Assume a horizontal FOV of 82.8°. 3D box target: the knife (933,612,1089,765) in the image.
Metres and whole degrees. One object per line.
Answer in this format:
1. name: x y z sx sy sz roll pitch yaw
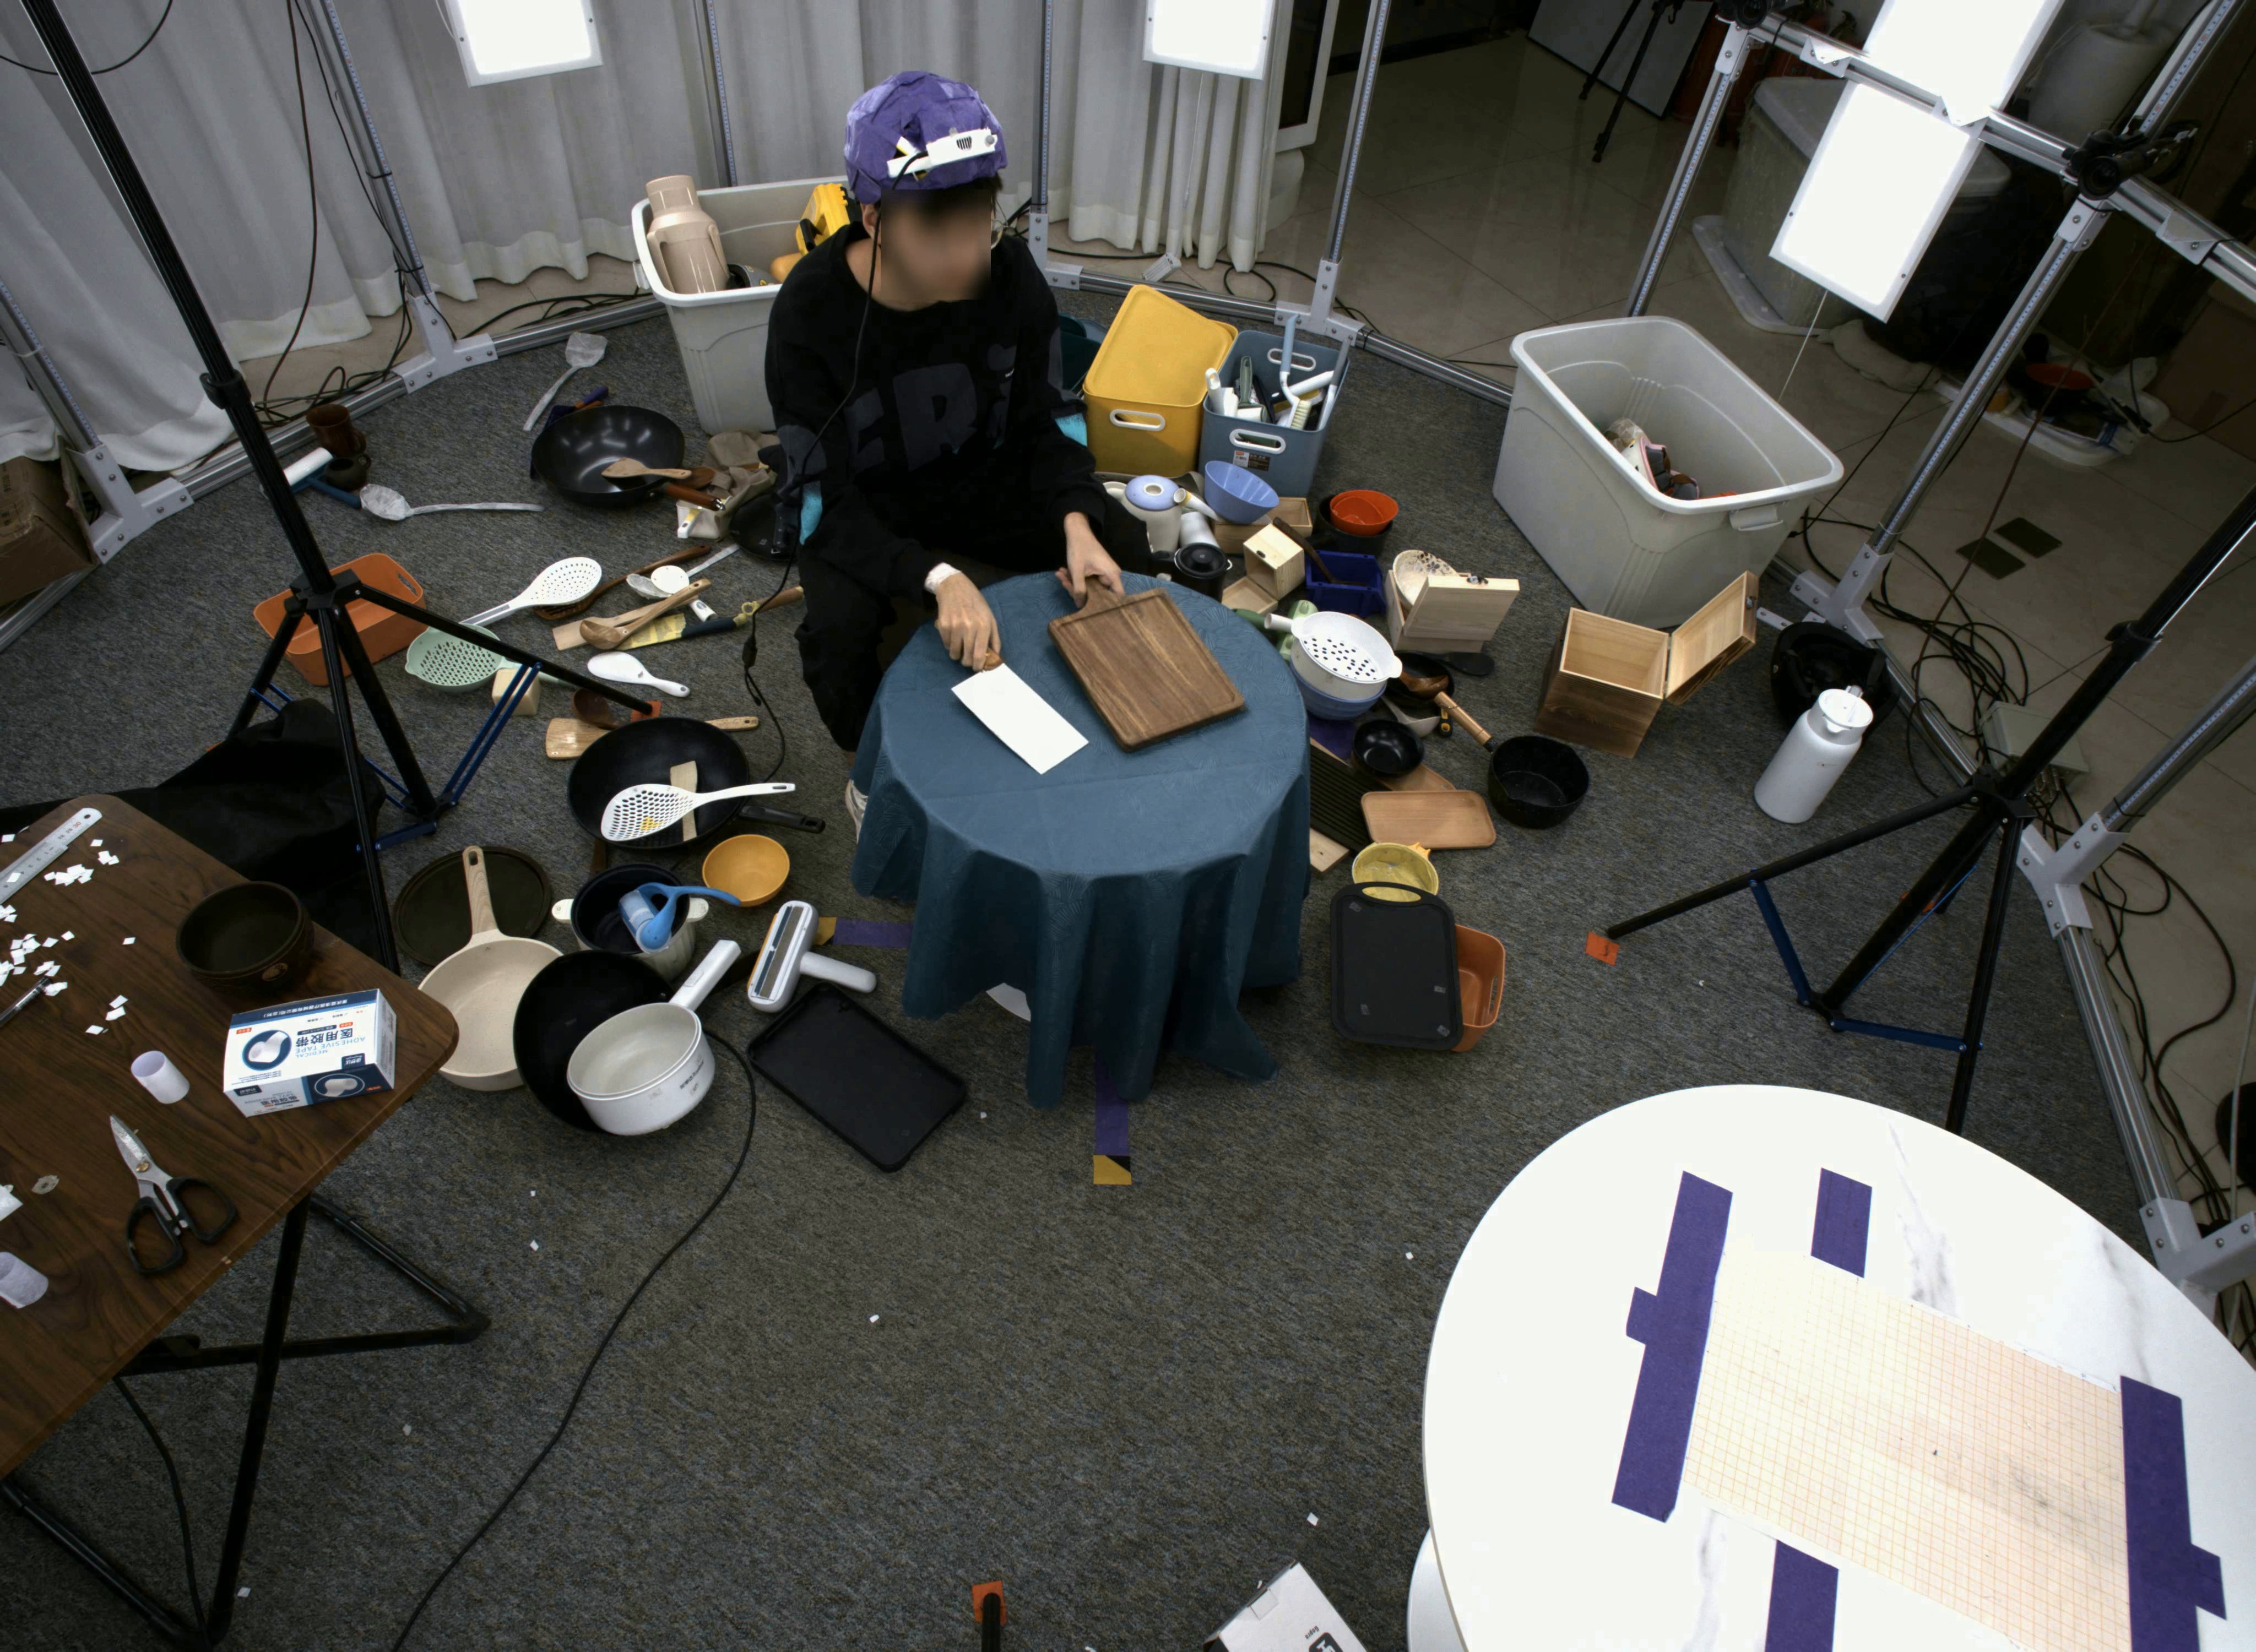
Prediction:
1. knife: -0.185 -0.191 1.799 0.094 0.020 0.310 -34 65 -29

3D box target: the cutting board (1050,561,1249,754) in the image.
1. cutting board: 0.006 -0.265 1.867 0.201 0.022 0.359 -21 58 -20
